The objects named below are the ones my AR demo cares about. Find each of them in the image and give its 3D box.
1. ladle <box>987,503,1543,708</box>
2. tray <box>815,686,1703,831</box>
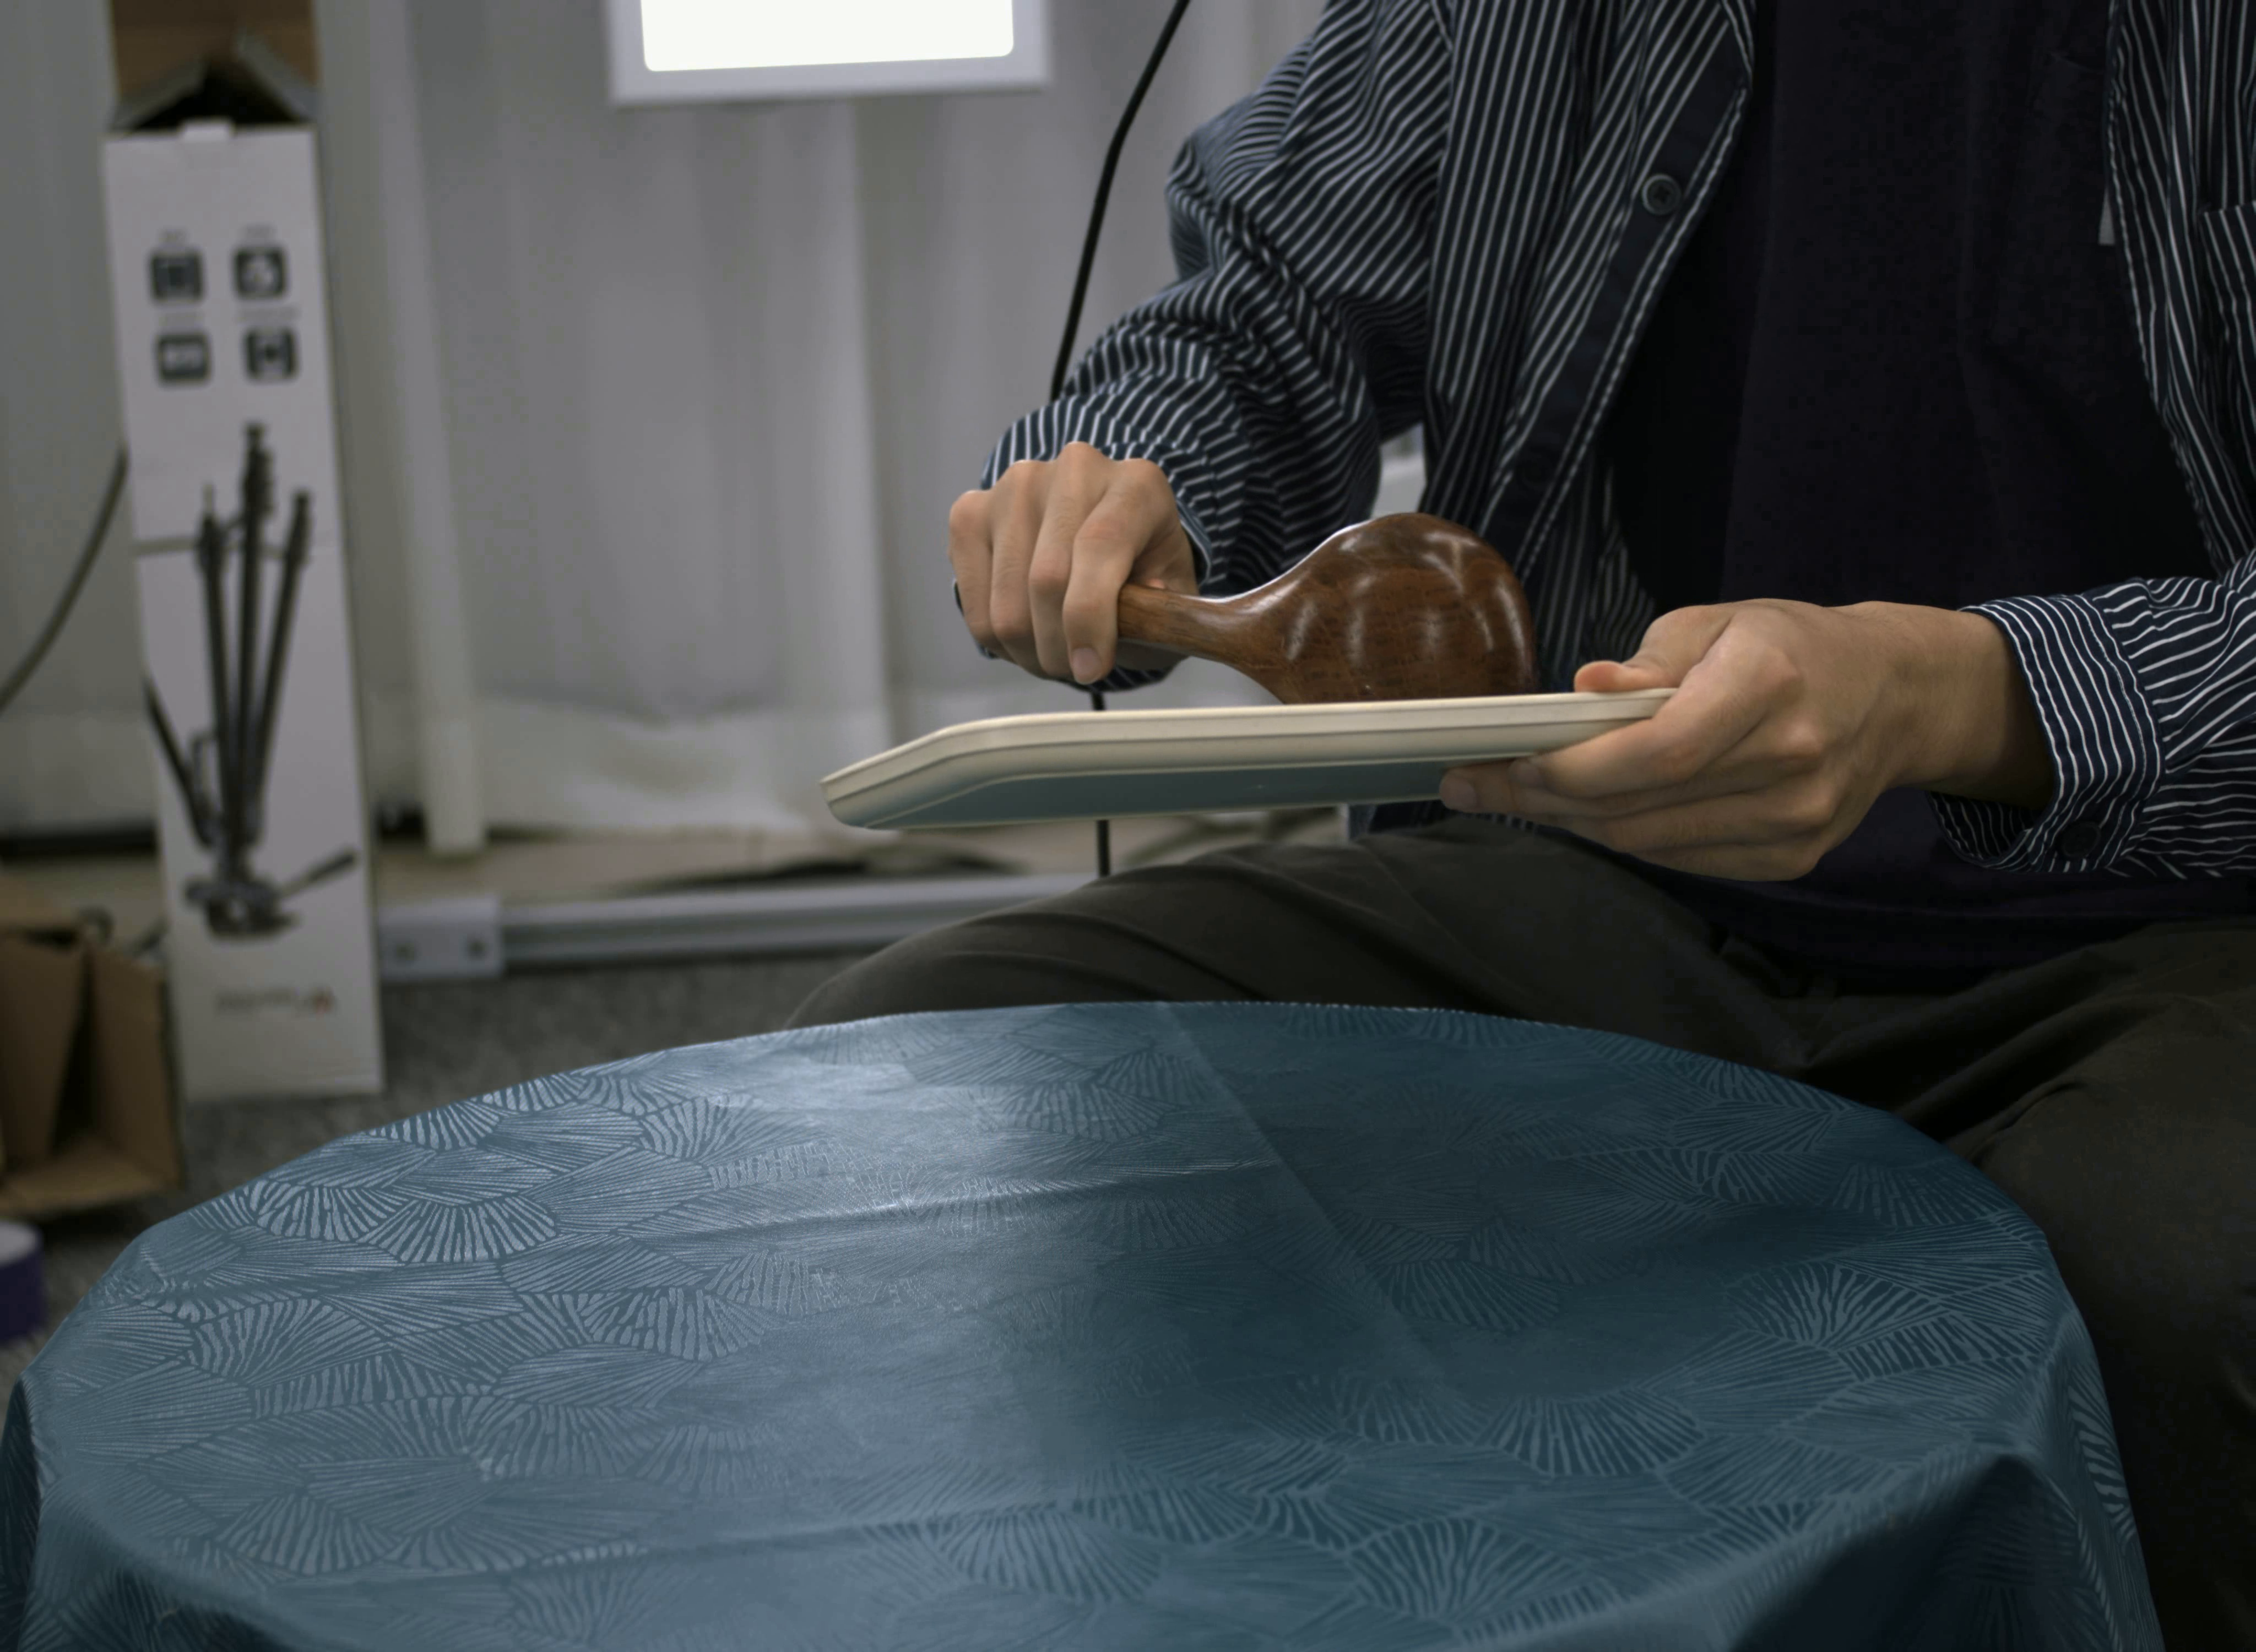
[{"bbox_3d":[0.041,-0.065,1.760,0.076,0.082,0.275,8,1,-24],"label":"ladle"},{"bbox_3d":[0.038,-0.019,1.625,0.238,0.017,0.171,-3,-5,-21],"label":"tray"}]
